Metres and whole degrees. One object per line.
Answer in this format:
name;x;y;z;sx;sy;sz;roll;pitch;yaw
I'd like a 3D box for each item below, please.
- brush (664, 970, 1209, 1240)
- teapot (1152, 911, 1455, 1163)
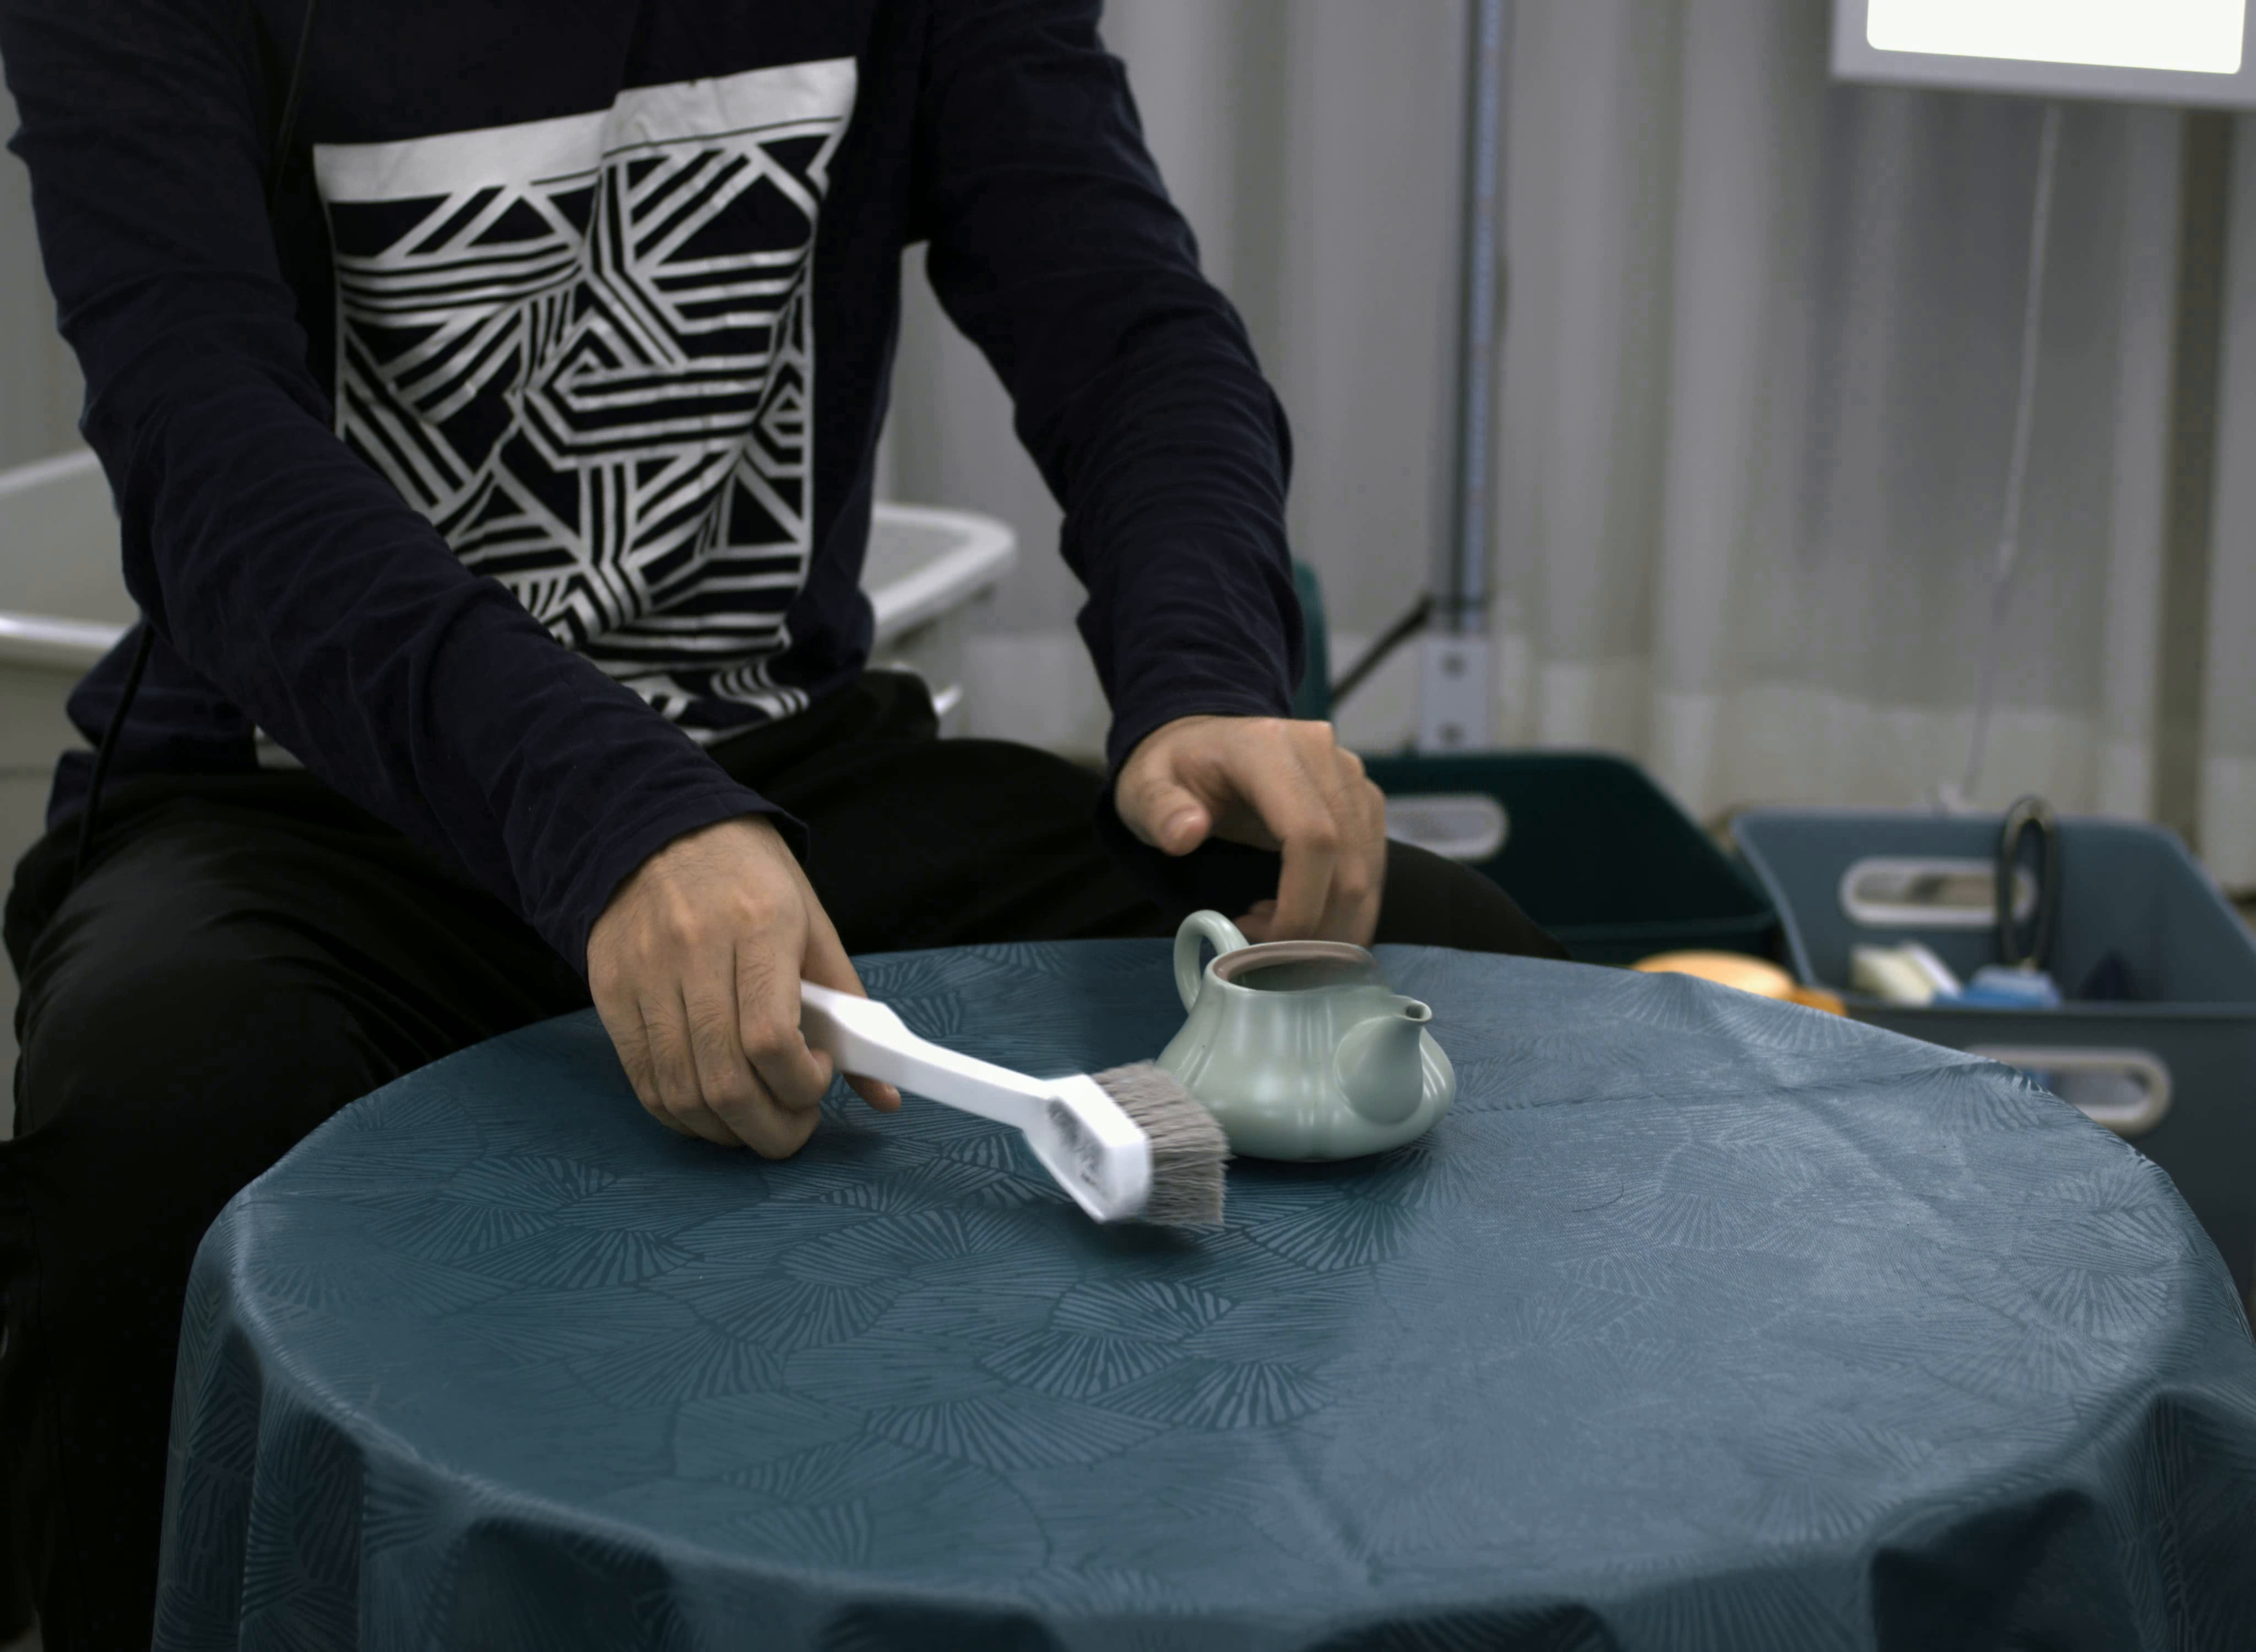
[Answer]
brush;-0.059;0.077;1.643;0.050;0.035;0.240;-24;28;-34
teapot;0.053;0.069;1.672;0.096;0.062;0.135;-14;21;-33
